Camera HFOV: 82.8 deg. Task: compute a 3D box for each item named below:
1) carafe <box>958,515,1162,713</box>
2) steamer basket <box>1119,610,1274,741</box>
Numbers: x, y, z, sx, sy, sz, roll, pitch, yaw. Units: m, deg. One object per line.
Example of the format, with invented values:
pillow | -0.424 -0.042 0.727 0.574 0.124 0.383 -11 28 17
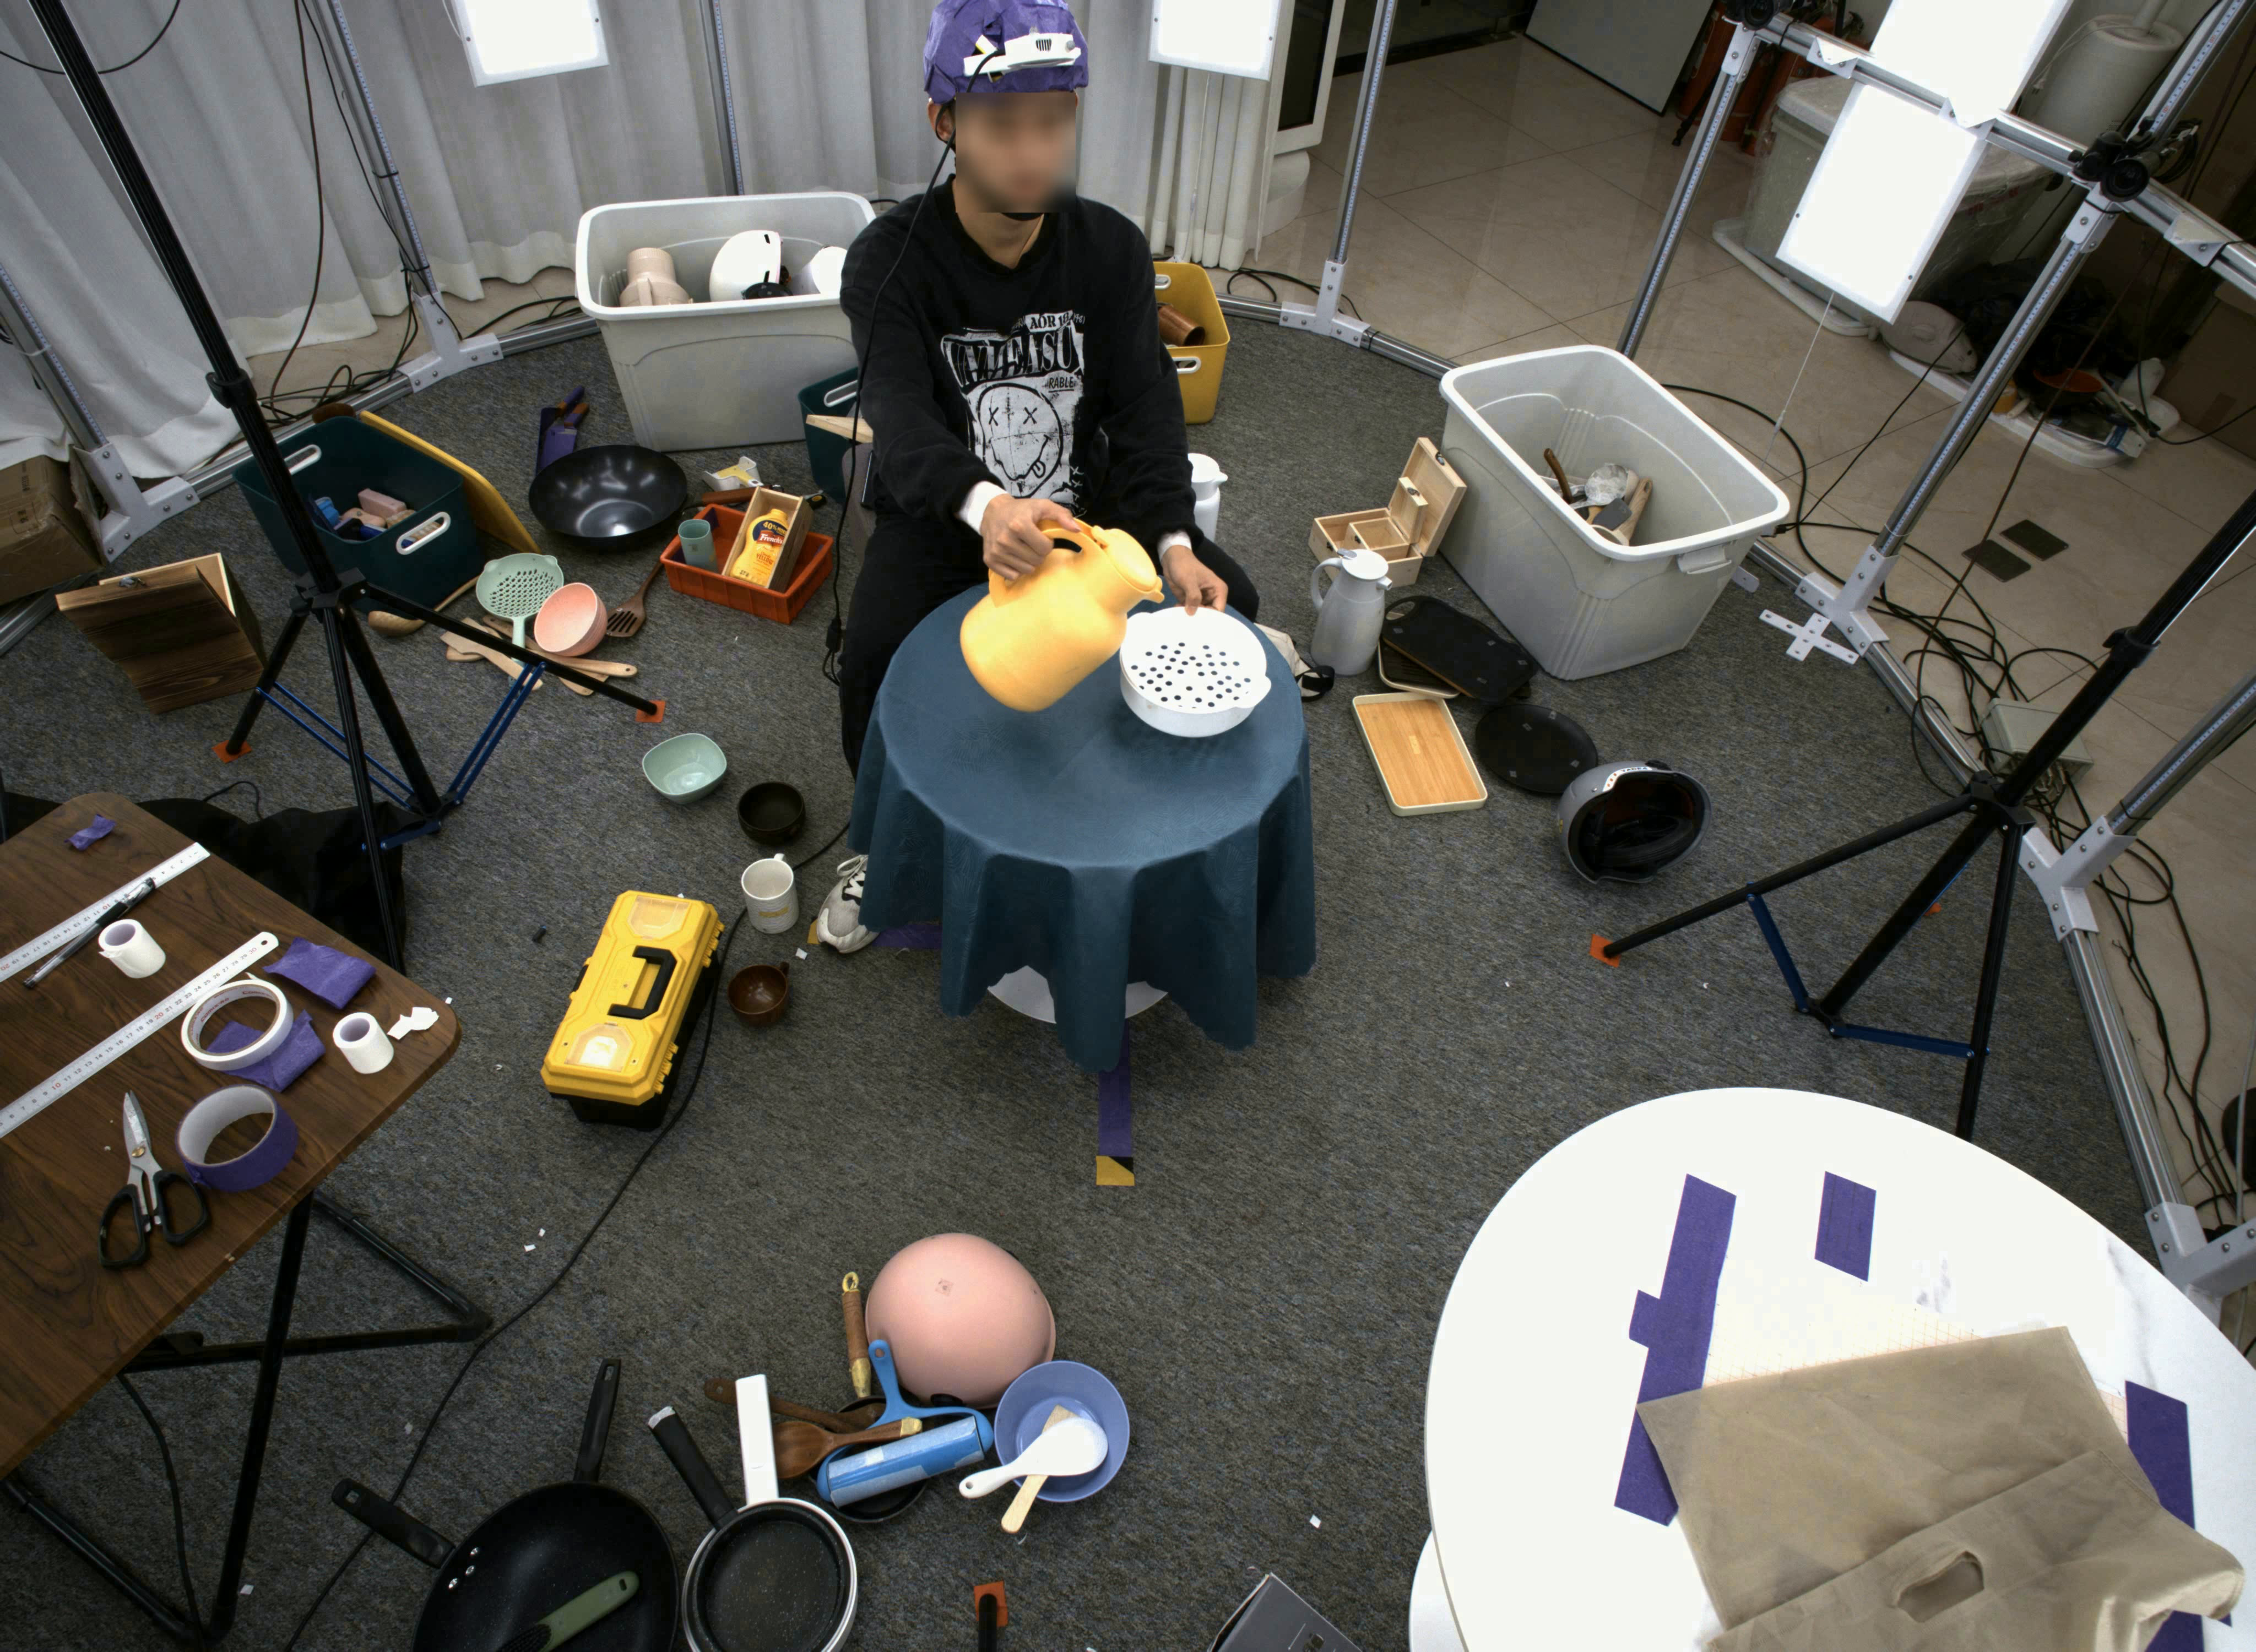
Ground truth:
carafe | -0.098 -0.279 1.629 0.199 0.258 0.167 34 34 -32
steamer basket | 0.091 -0.207 1.771 0.233 0.067 0.204 31 57 21
